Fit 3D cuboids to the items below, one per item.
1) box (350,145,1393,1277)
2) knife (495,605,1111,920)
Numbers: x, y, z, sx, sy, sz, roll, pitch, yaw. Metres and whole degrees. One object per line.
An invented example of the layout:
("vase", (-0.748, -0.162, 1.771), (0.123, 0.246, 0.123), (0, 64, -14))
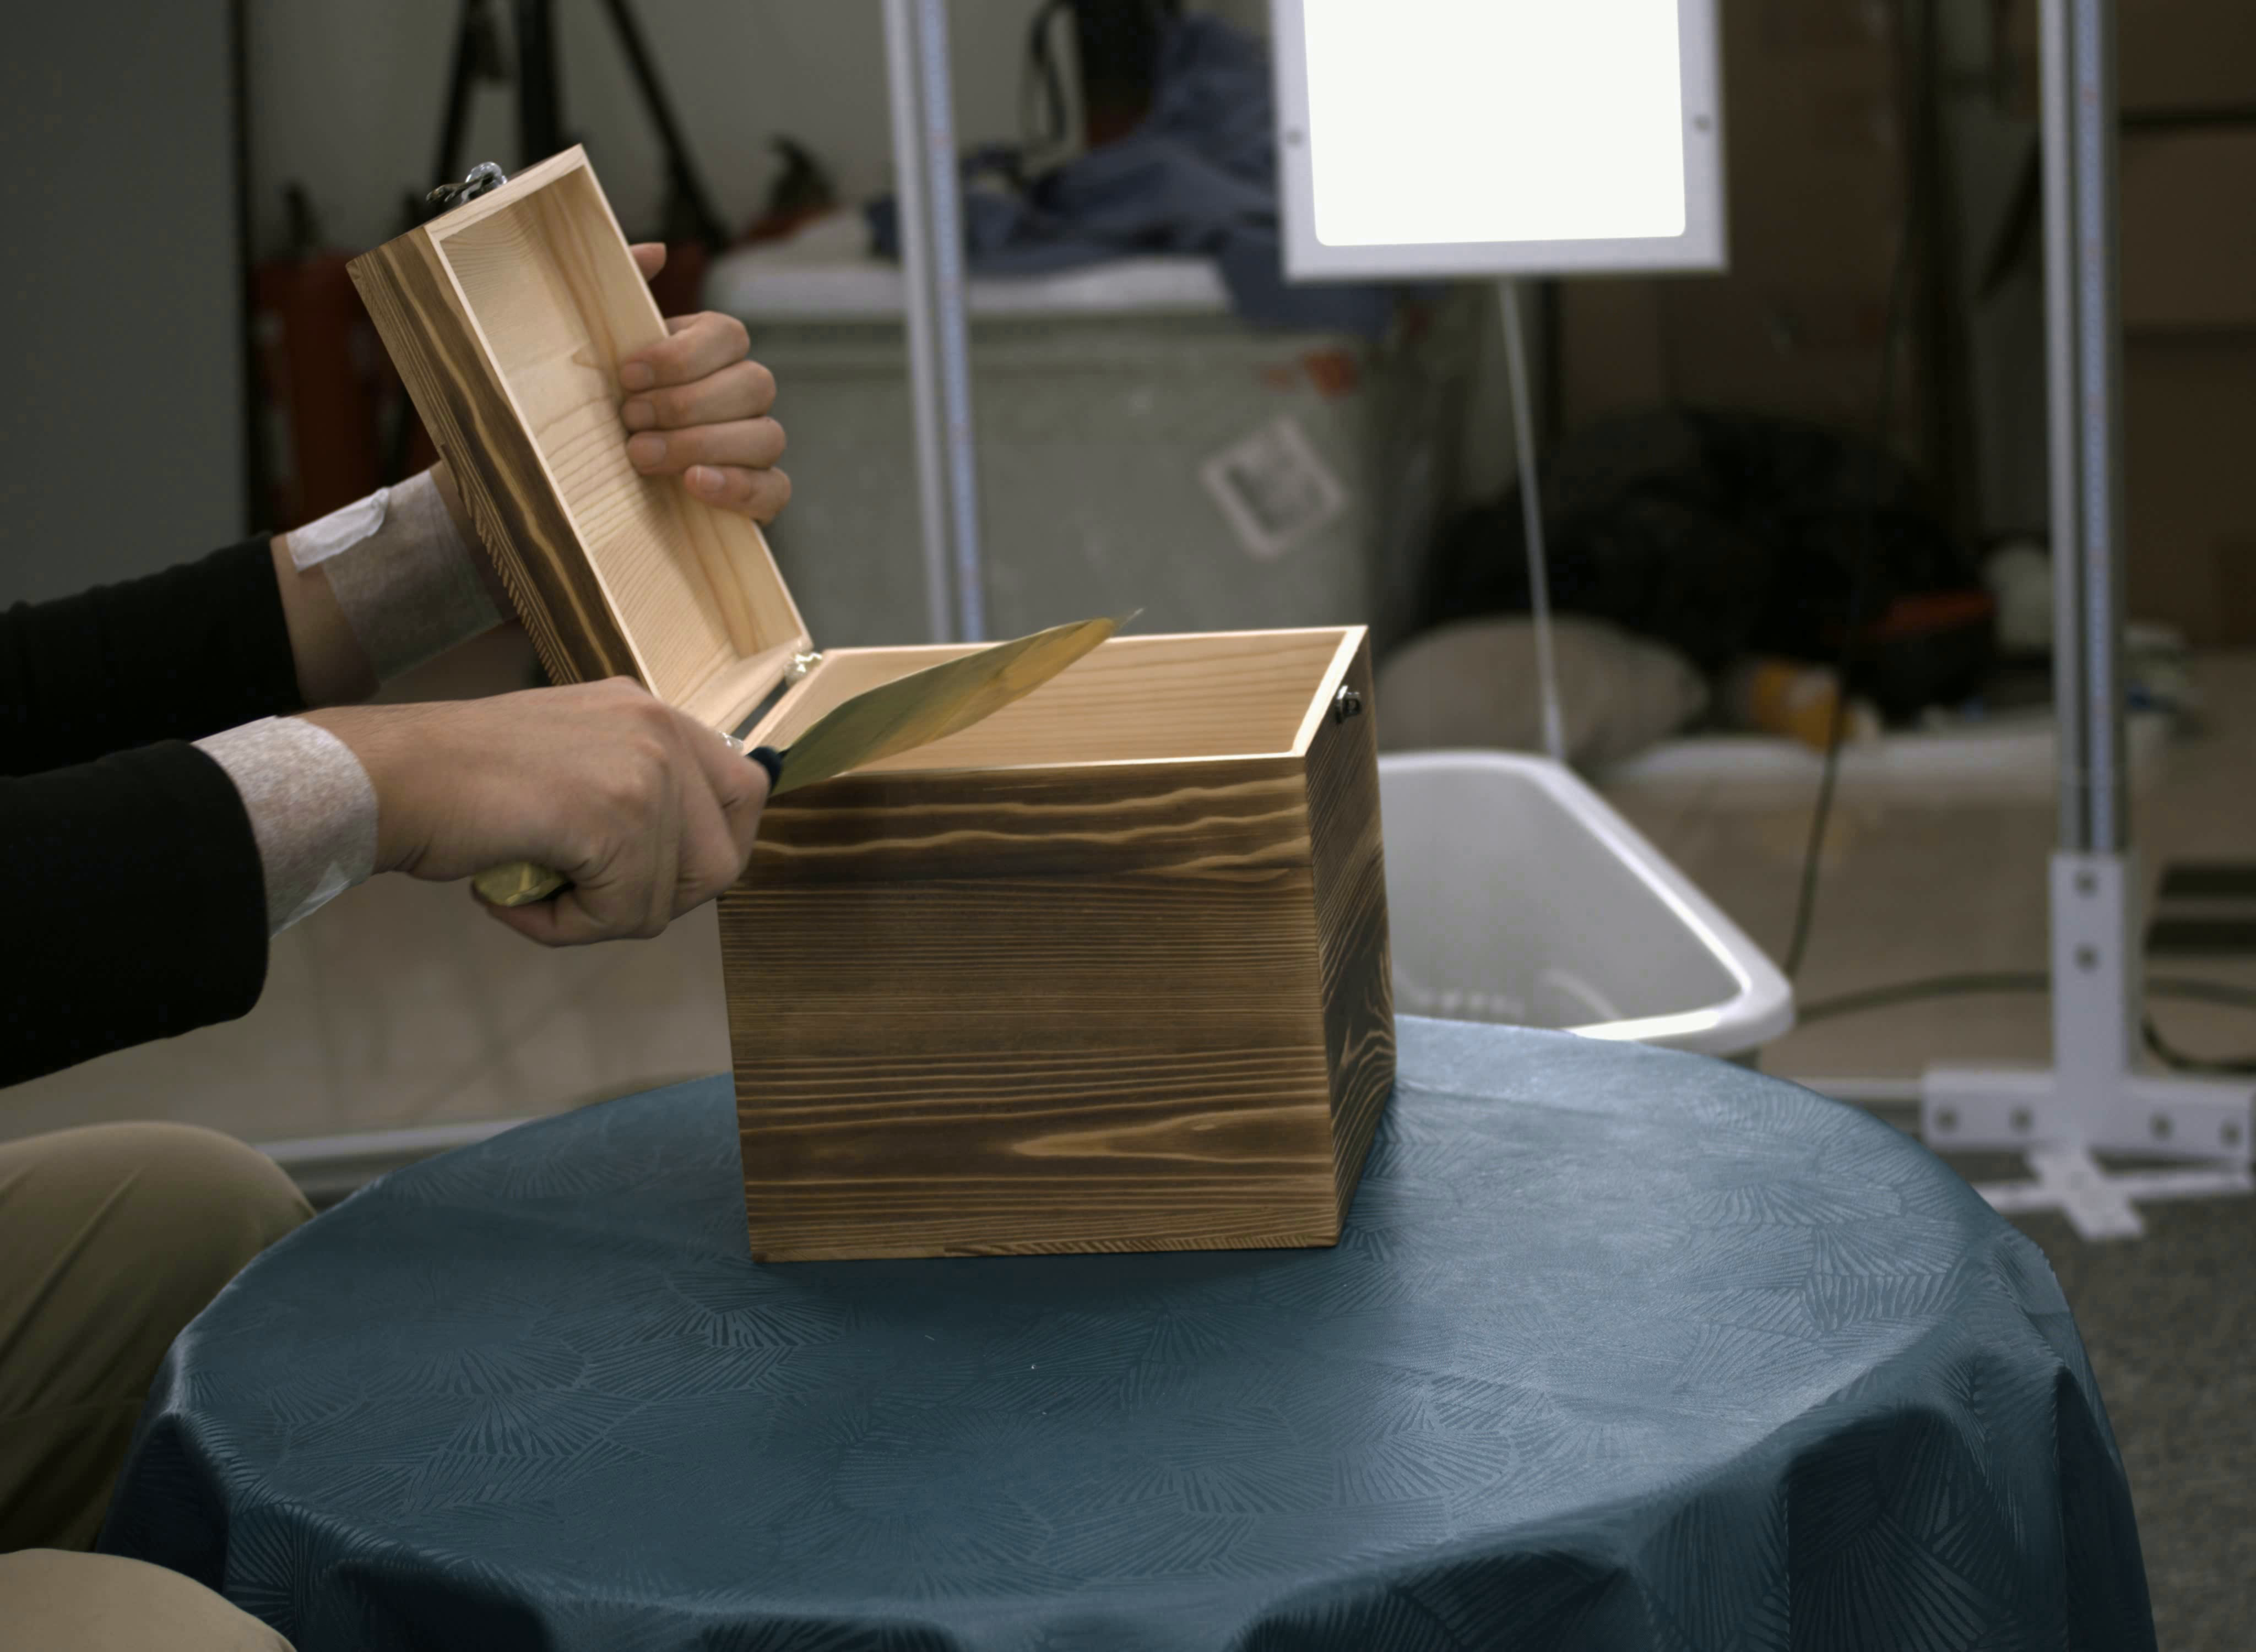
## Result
("box", (-0.079, -0.050, 1.898), (0.324, 0.377, 0.206), (-3, 14, 11))
("knife", (-0.095, -0.025, 1.760), (0.282, 0.027, 0.082), (-26, -15, -47))
